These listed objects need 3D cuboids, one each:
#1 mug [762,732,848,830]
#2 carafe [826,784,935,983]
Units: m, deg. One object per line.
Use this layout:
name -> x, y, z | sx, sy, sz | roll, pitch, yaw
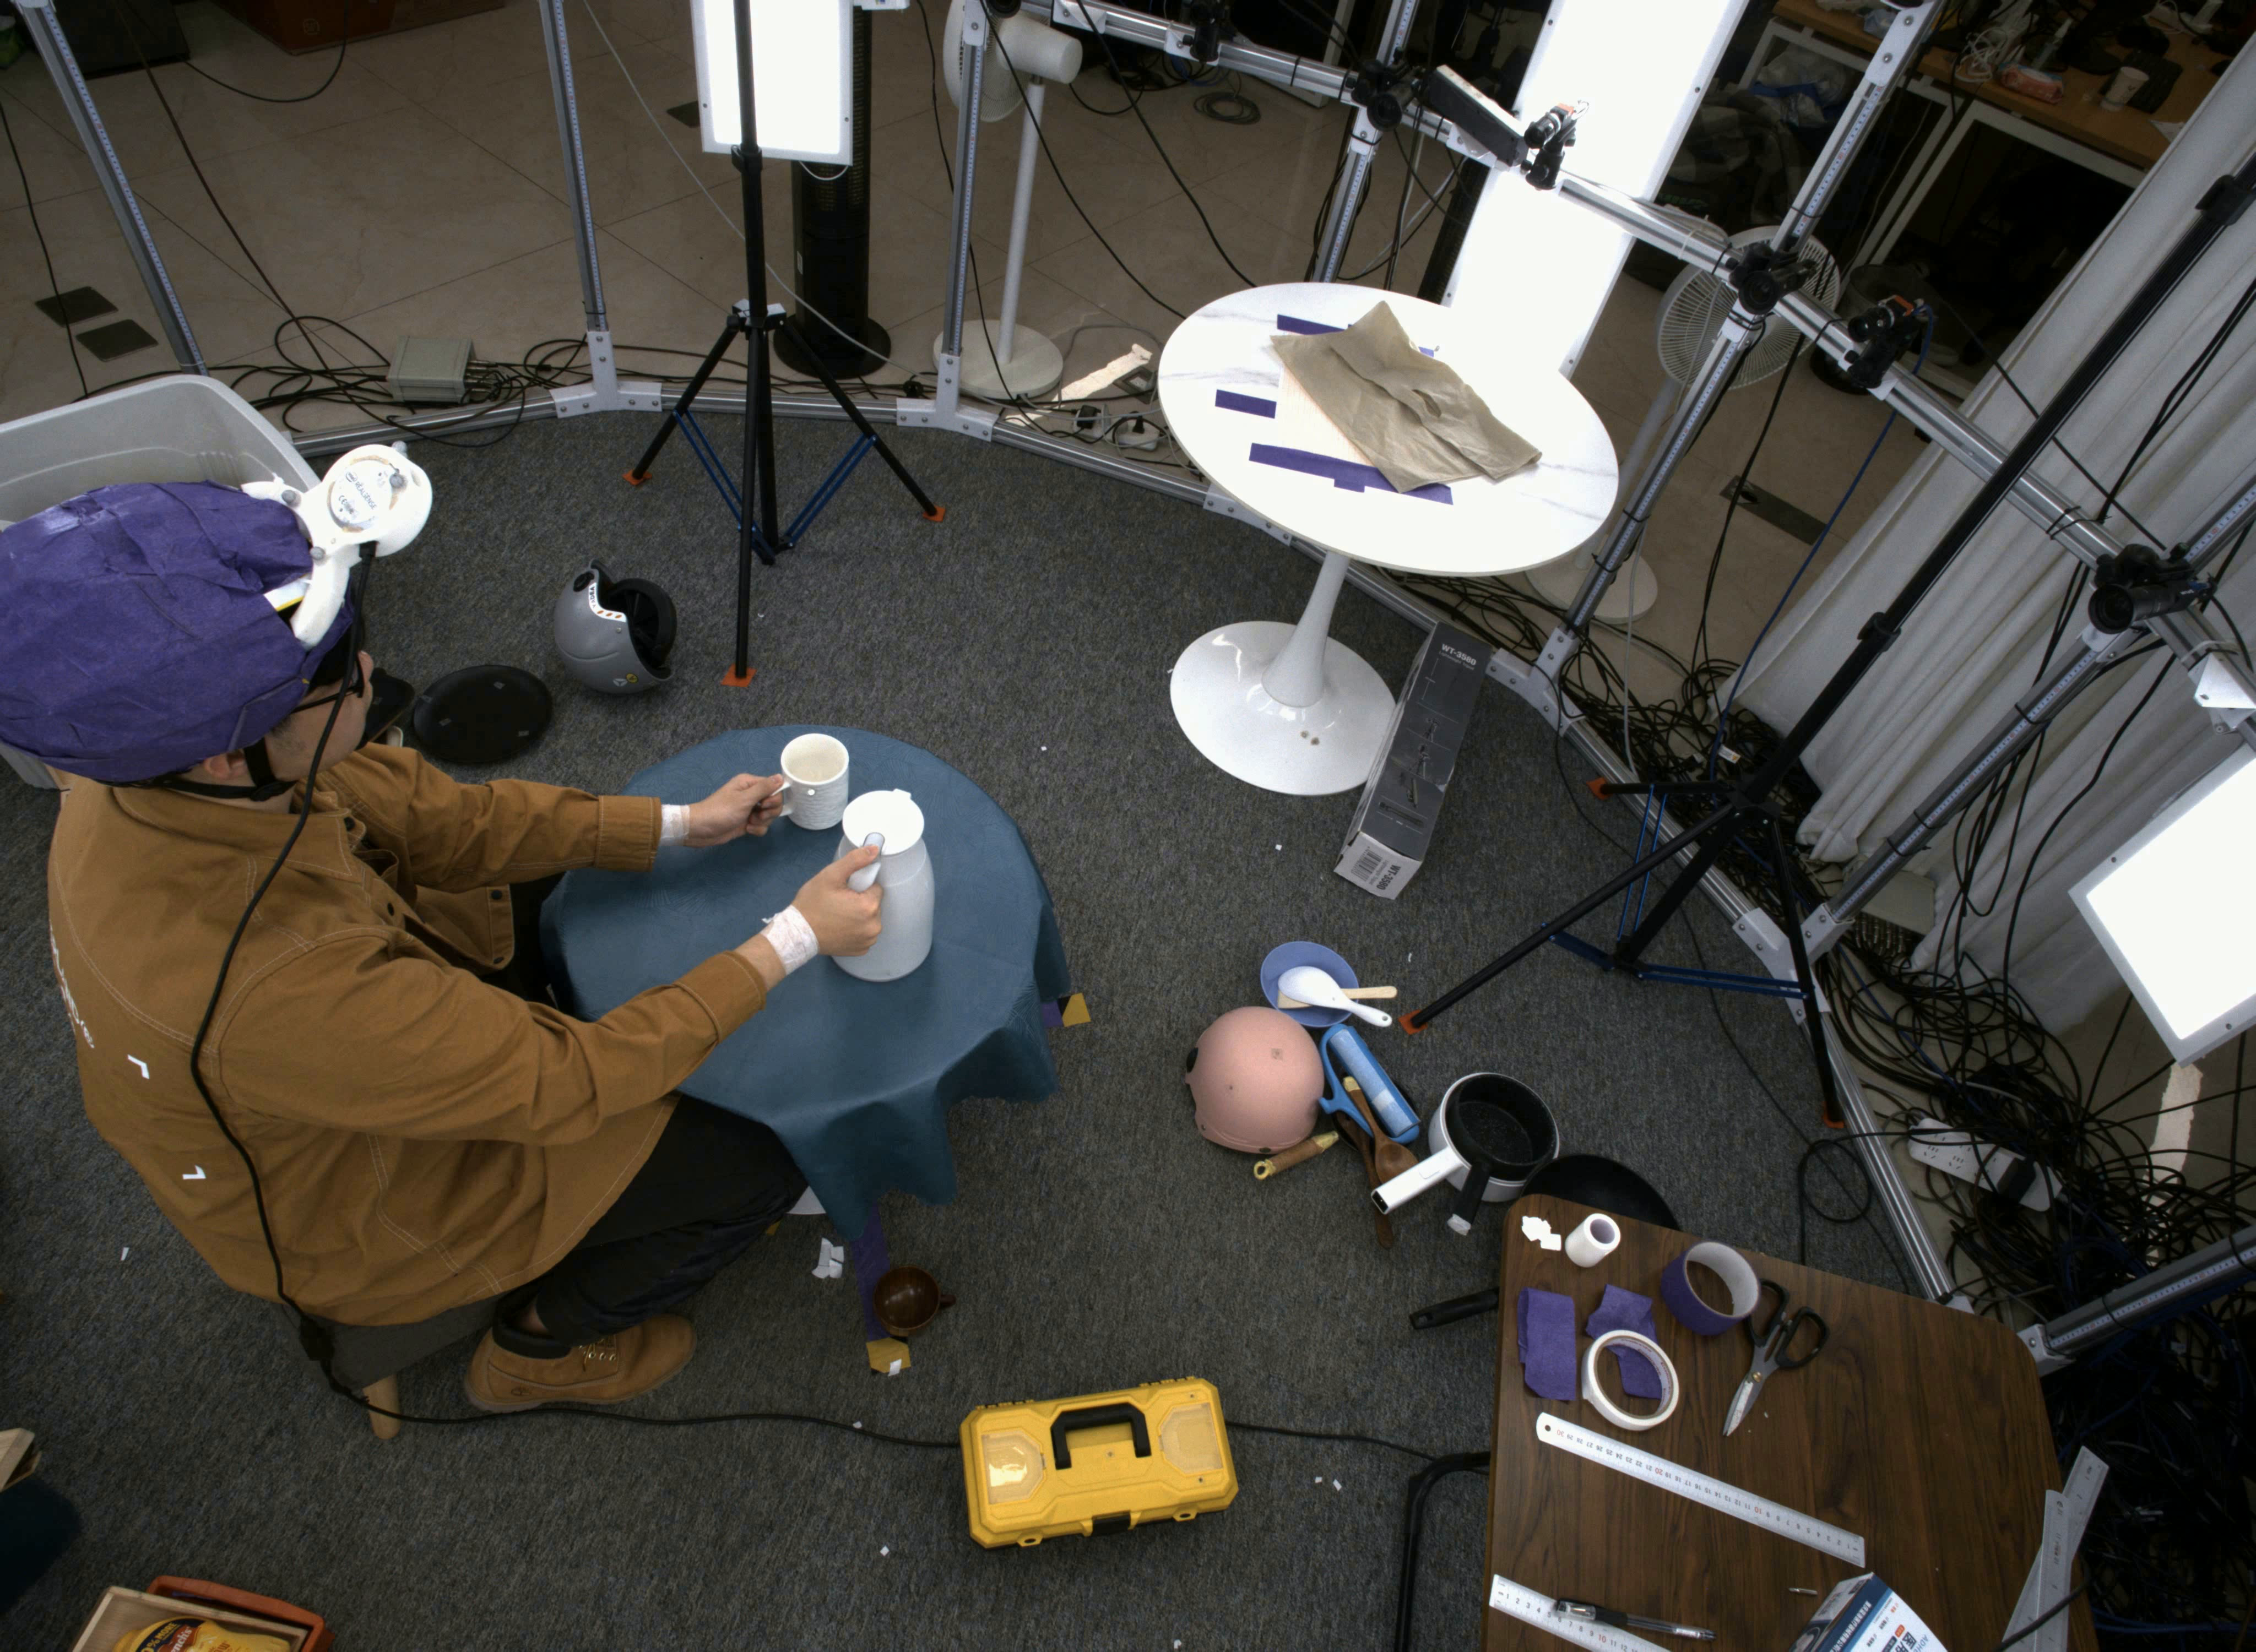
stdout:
mug -> -0.423, -0.050, 1.693 | 0.118, 0.104, 0.083 | -34, 65, -31
carafe -> -0.298, 0.077, 1.536 | 0.131, 0.254, 0.166 | 16, 51, 0
